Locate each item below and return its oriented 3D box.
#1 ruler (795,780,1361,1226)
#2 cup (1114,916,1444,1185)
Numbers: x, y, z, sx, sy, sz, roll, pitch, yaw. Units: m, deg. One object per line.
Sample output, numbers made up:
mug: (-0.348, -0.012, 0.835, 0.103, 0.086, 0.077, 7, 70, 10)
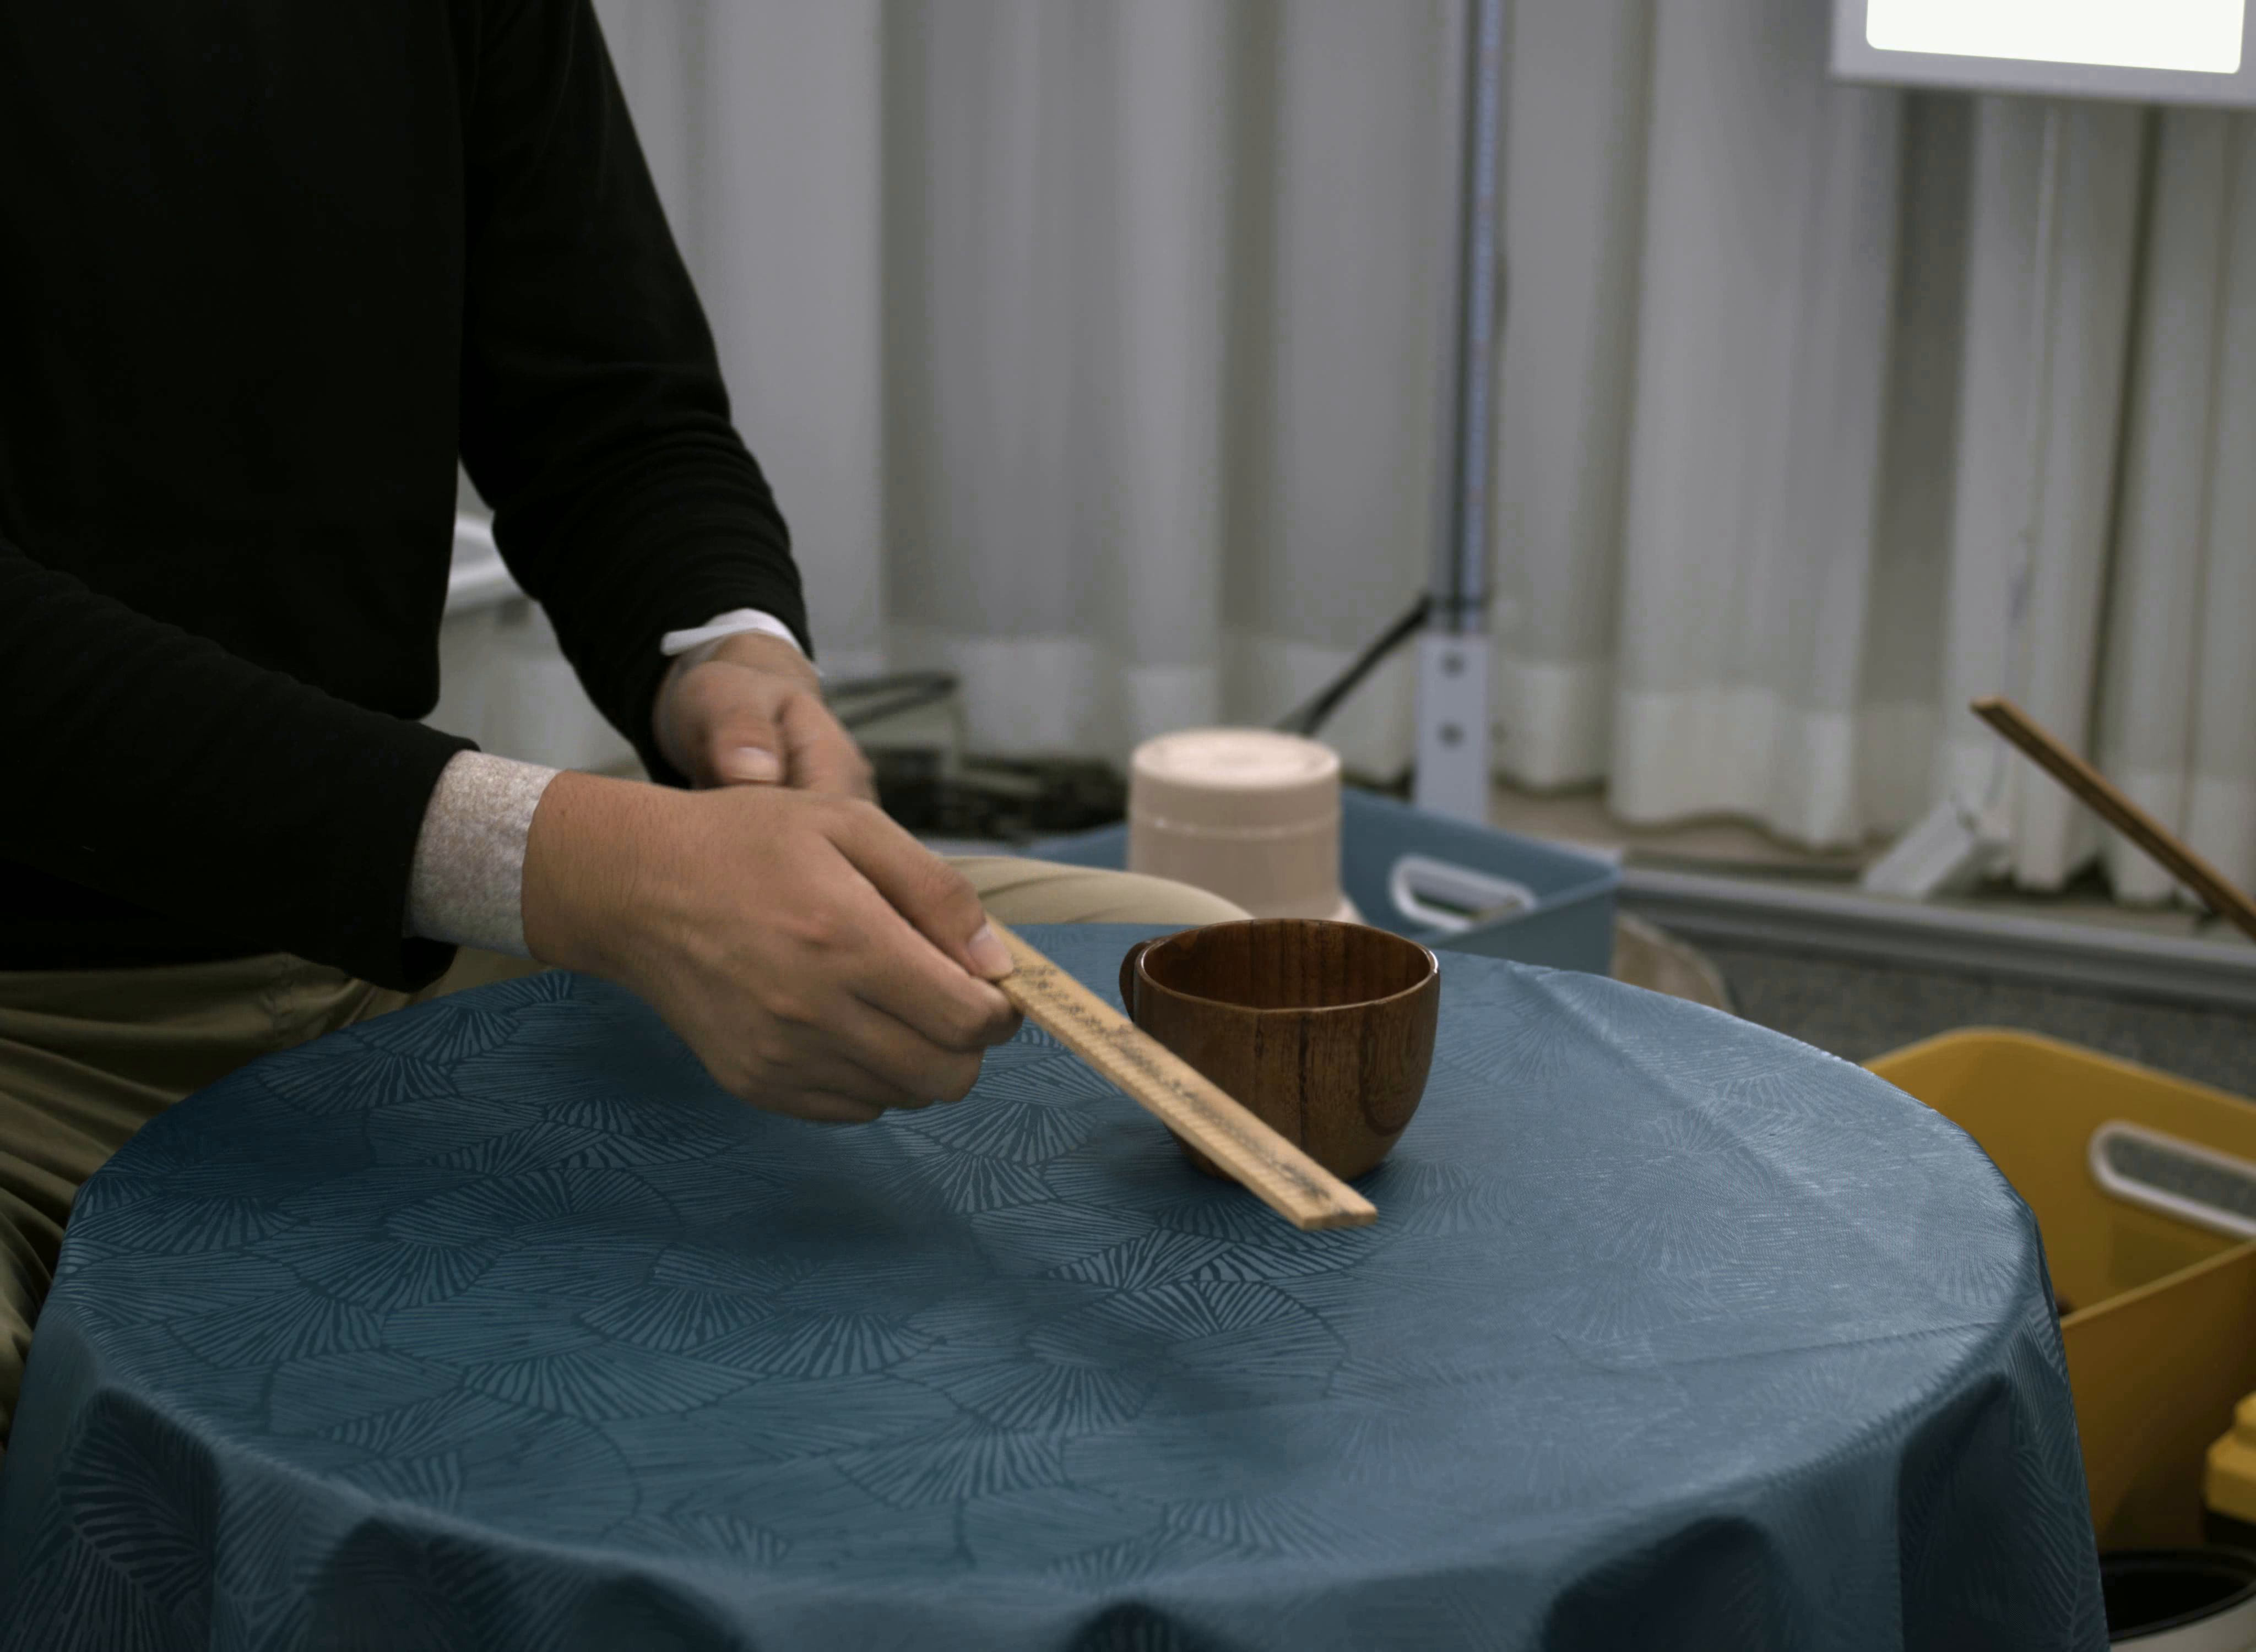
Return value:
ruler: (-0.022, 0.045, 1.557, 0.027, 0.022, 0.327, 3, 19, -30)
cup: (0.042, 0.070, 1.652, 0.118, 0.068, 0.096, 14, 22, 43)
